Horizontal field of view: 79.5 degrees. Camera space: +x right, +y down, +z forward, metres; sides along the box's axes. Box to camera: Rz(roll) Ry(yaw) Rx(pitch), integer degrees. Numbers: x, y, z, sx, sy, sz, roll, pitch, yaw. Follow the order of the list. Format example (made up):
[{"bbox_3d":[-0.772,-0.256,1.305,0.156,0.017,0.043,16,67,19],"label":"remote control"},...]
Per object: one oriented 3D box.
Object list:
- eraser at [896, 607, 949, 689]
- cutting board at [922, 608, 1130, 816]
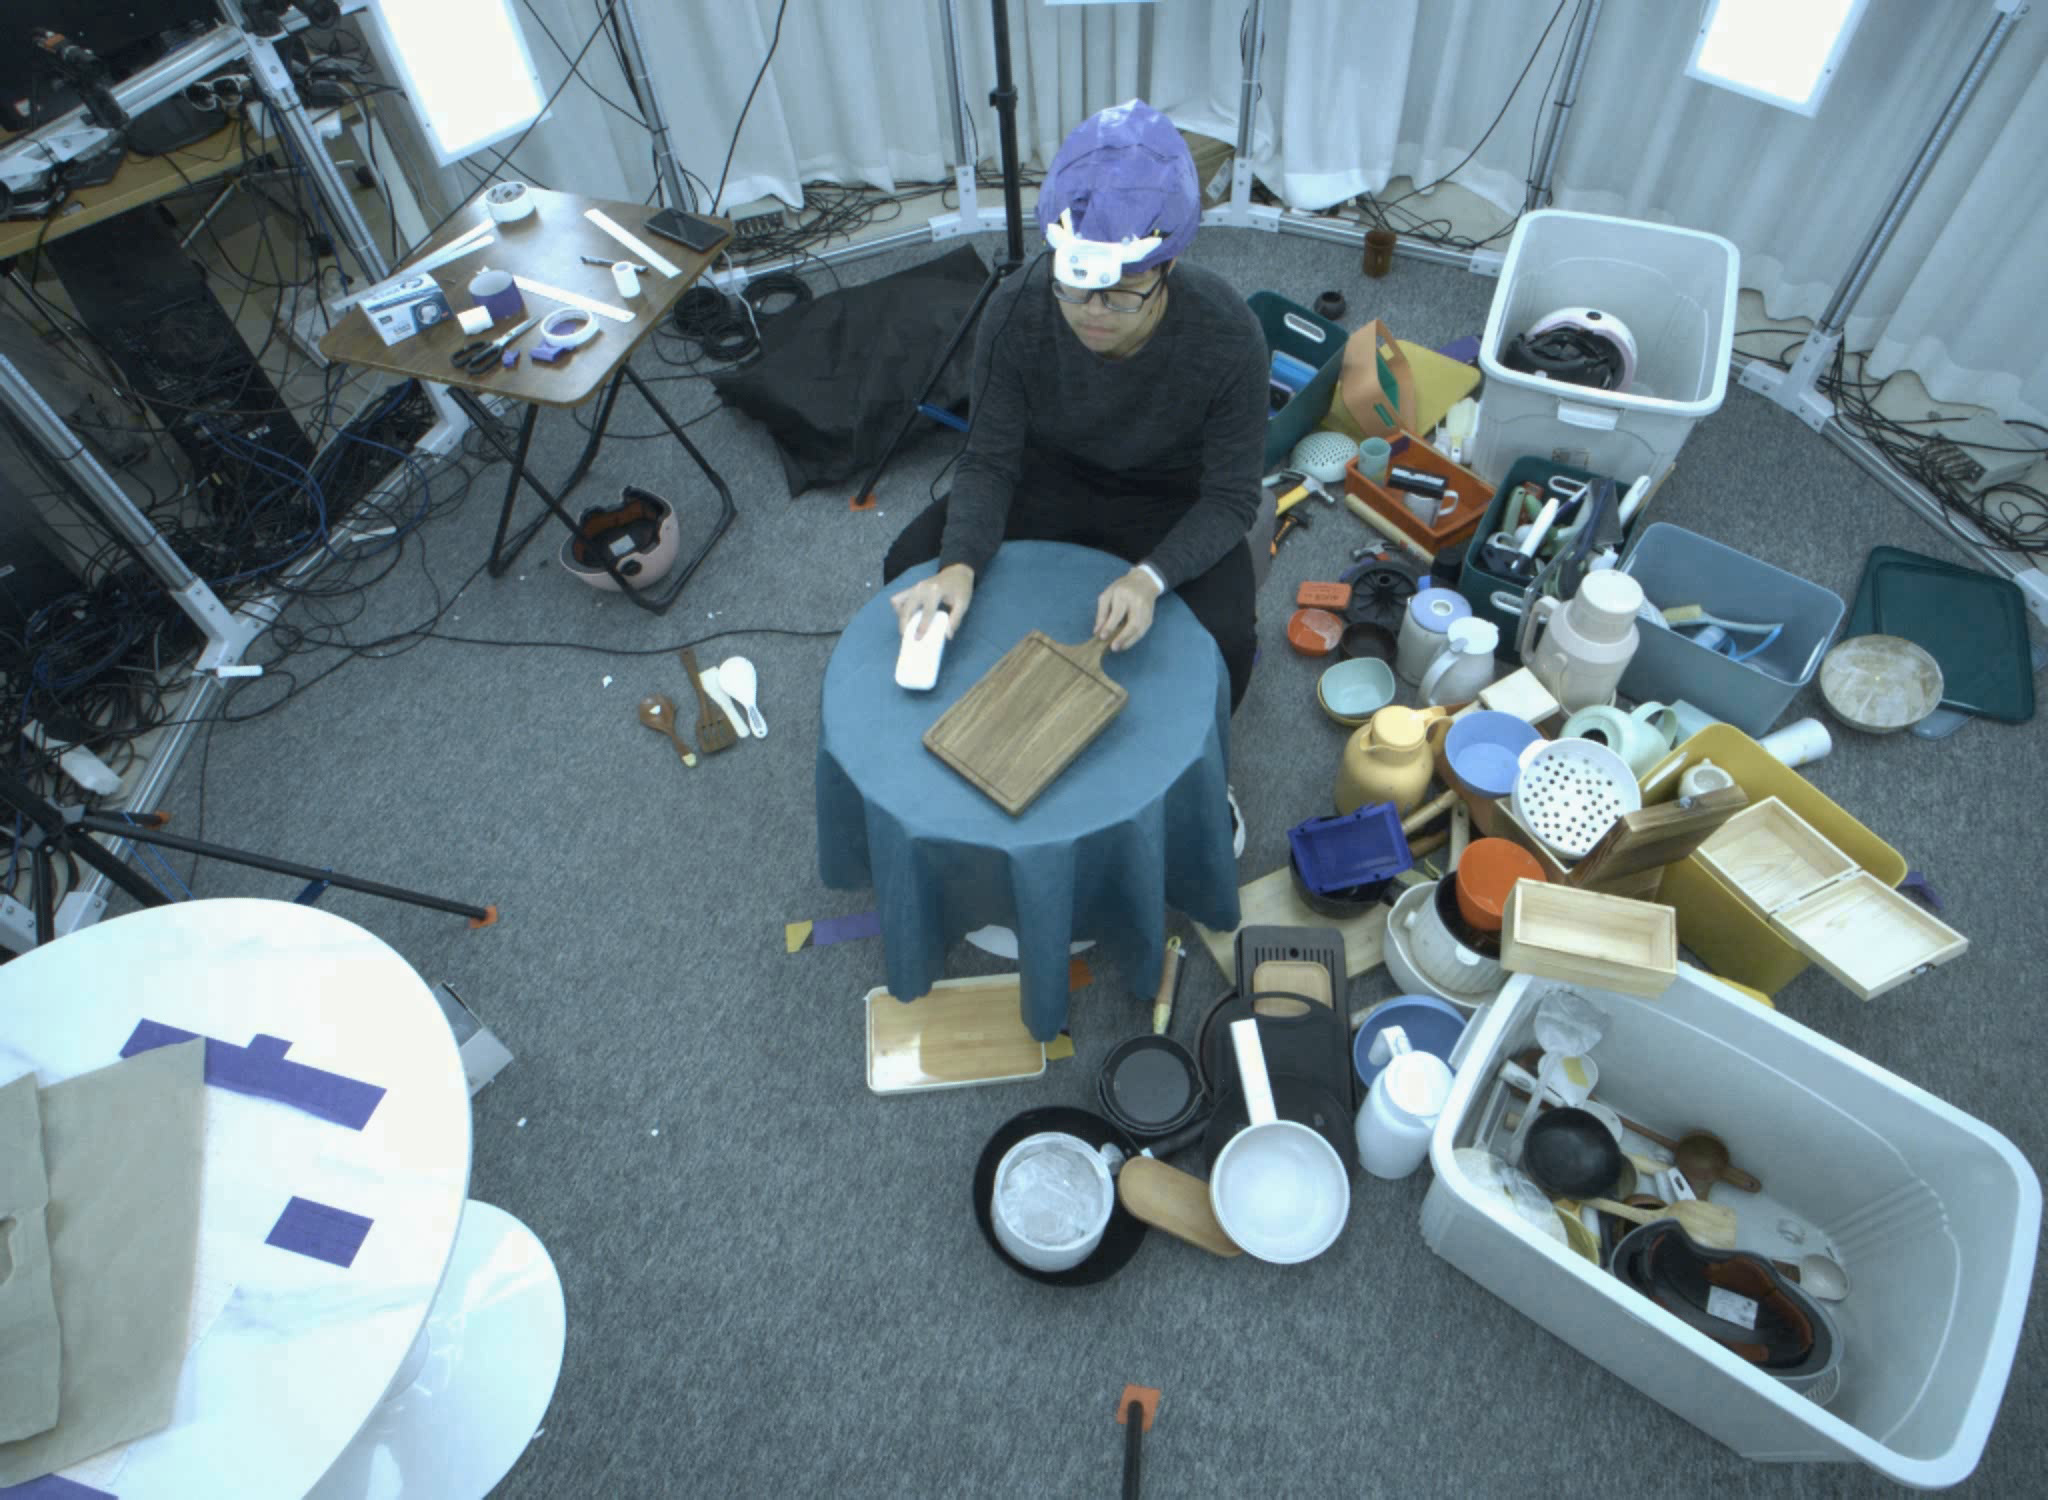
[{"bbox_3d":[-0.151,-0.155,1.854,0.063,0.035,0.130,7,69,11],"label":"eraser"},{"bbox_3d":[0.034,-0.081,1.797,0.197,0.023,0.353,36,73,24],"label":"cutting board"}]
